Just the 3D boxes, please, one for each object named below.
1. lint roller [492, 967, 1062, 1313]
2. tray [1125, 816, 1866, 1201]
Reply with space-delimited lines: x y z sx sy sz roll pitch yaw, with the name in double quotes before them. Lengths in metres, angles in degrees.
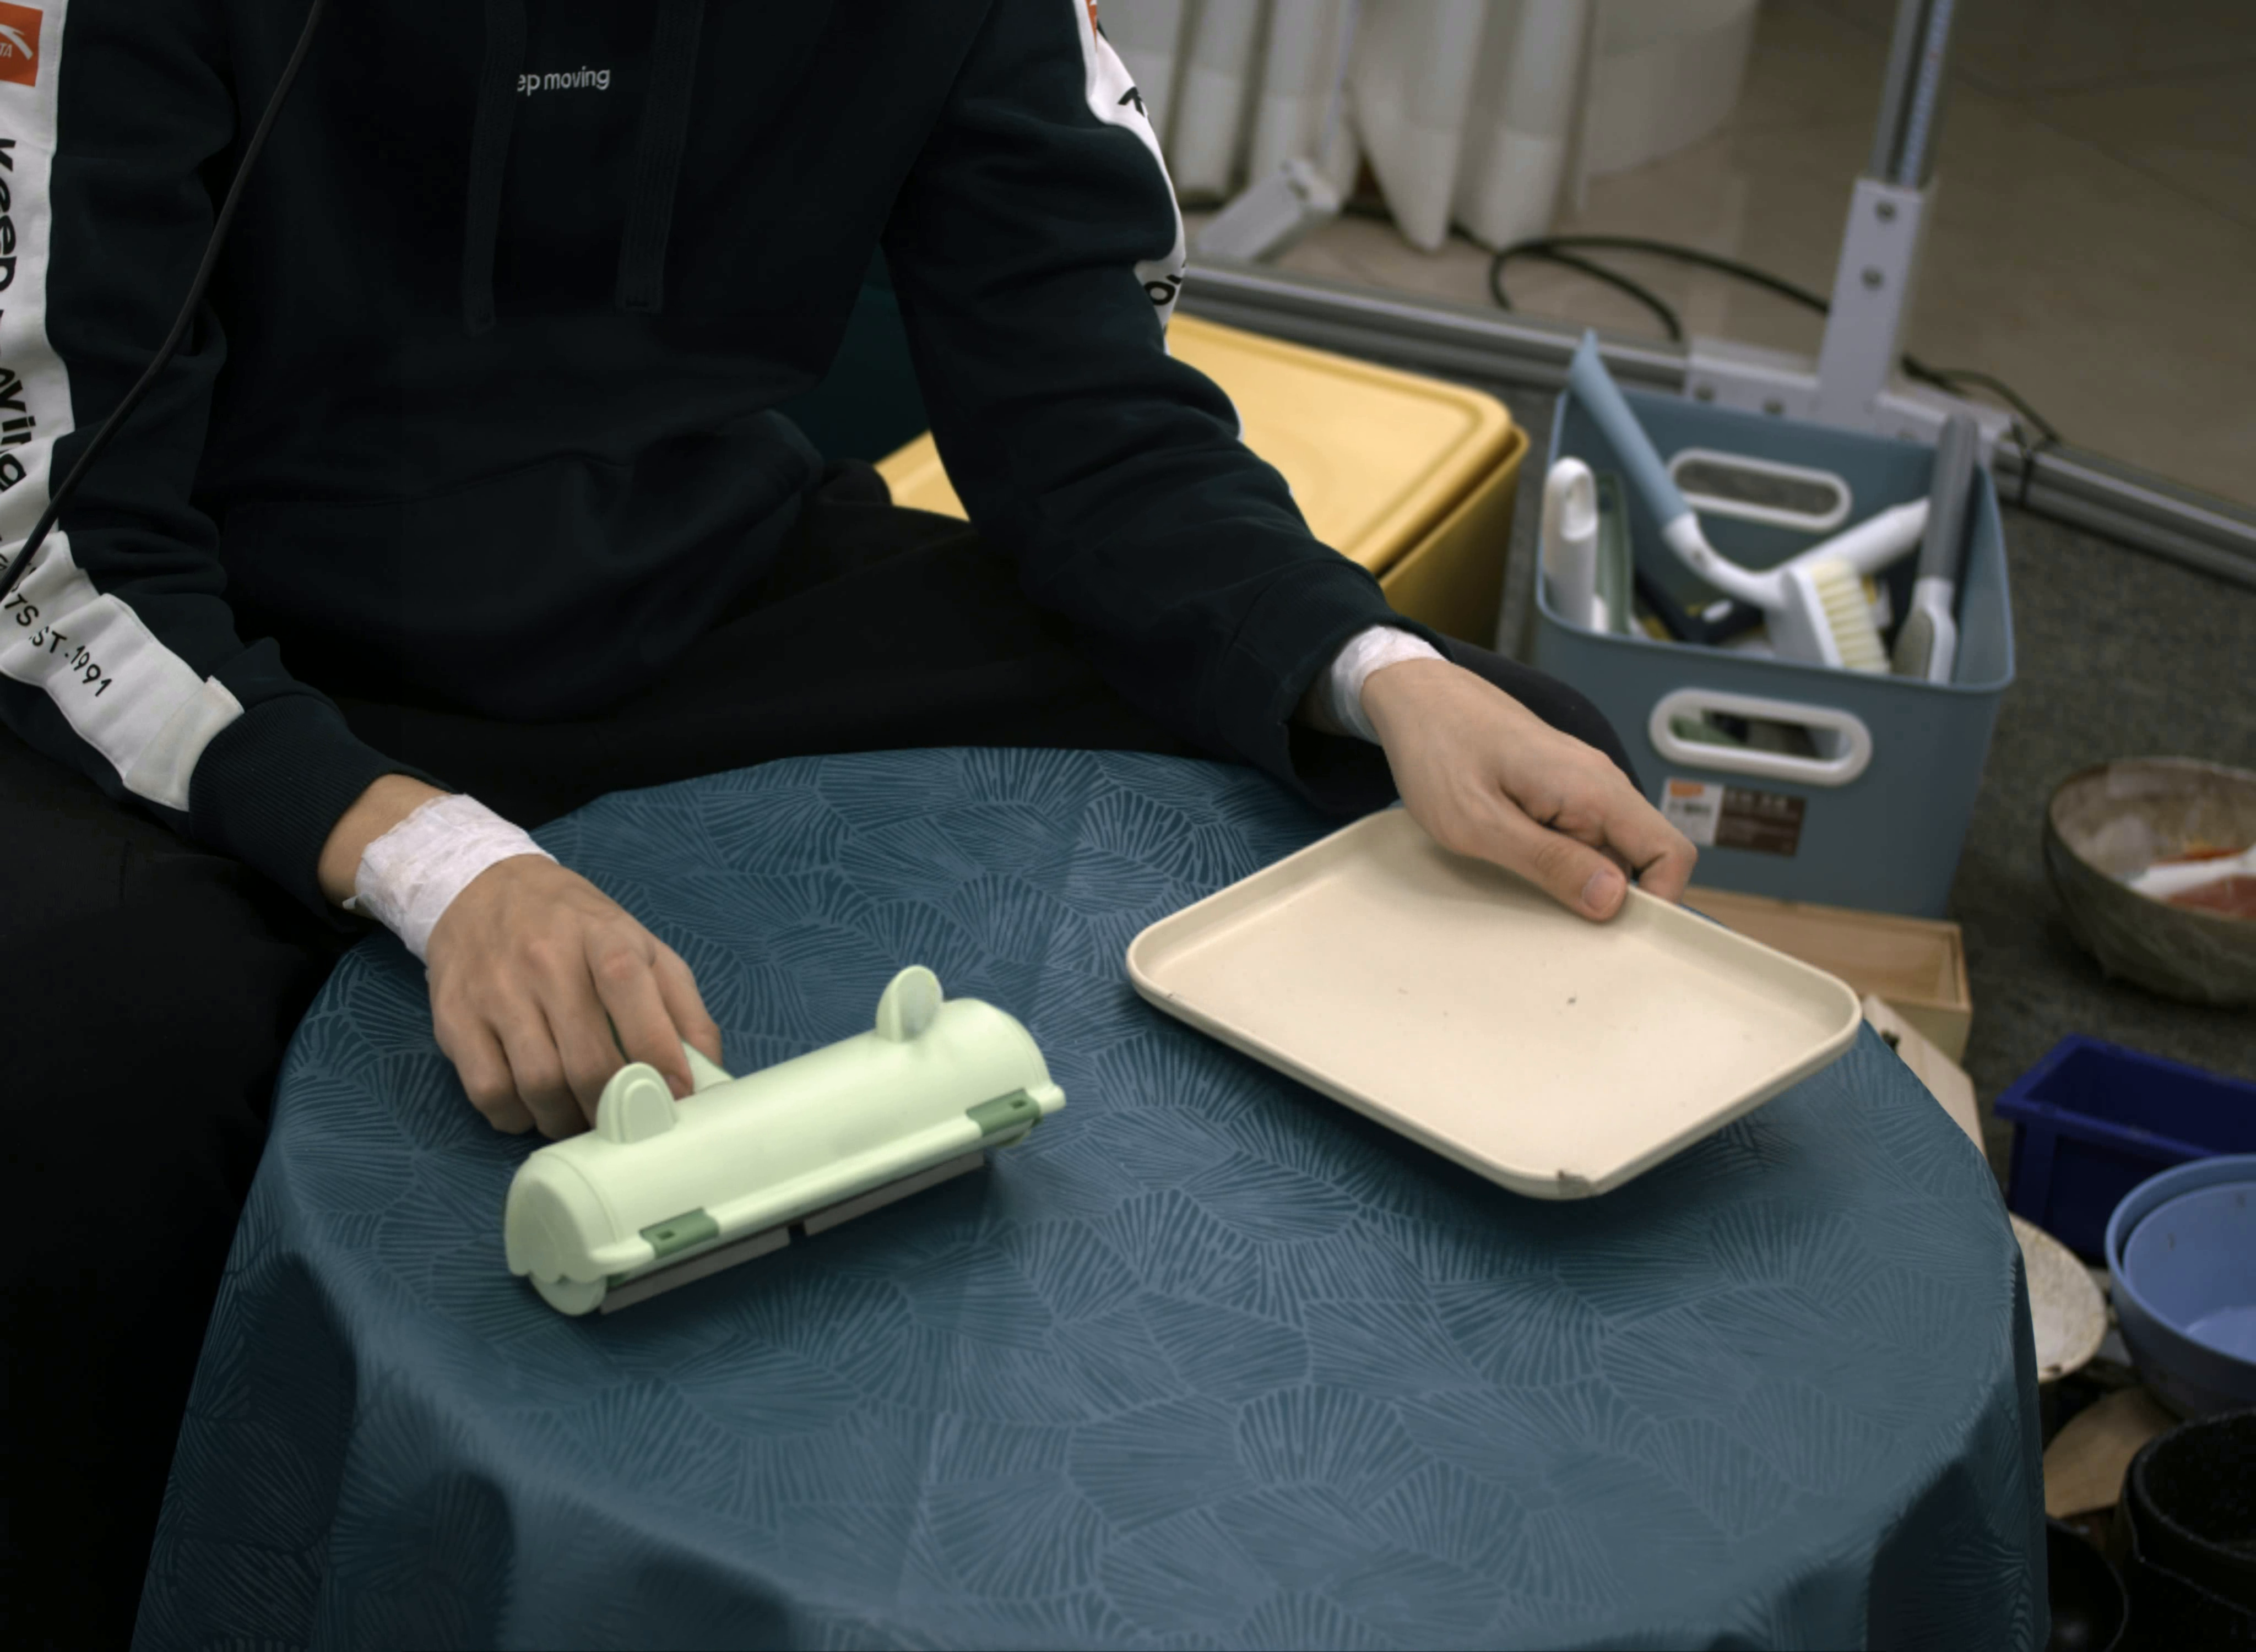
"lint roller" -0.149 0.075 1.771 0.197 0.082 0.185 -18 40 -37
"tray" 0.128 0.064 1.888 0.170 0.017 0.241 -24 34 -35
